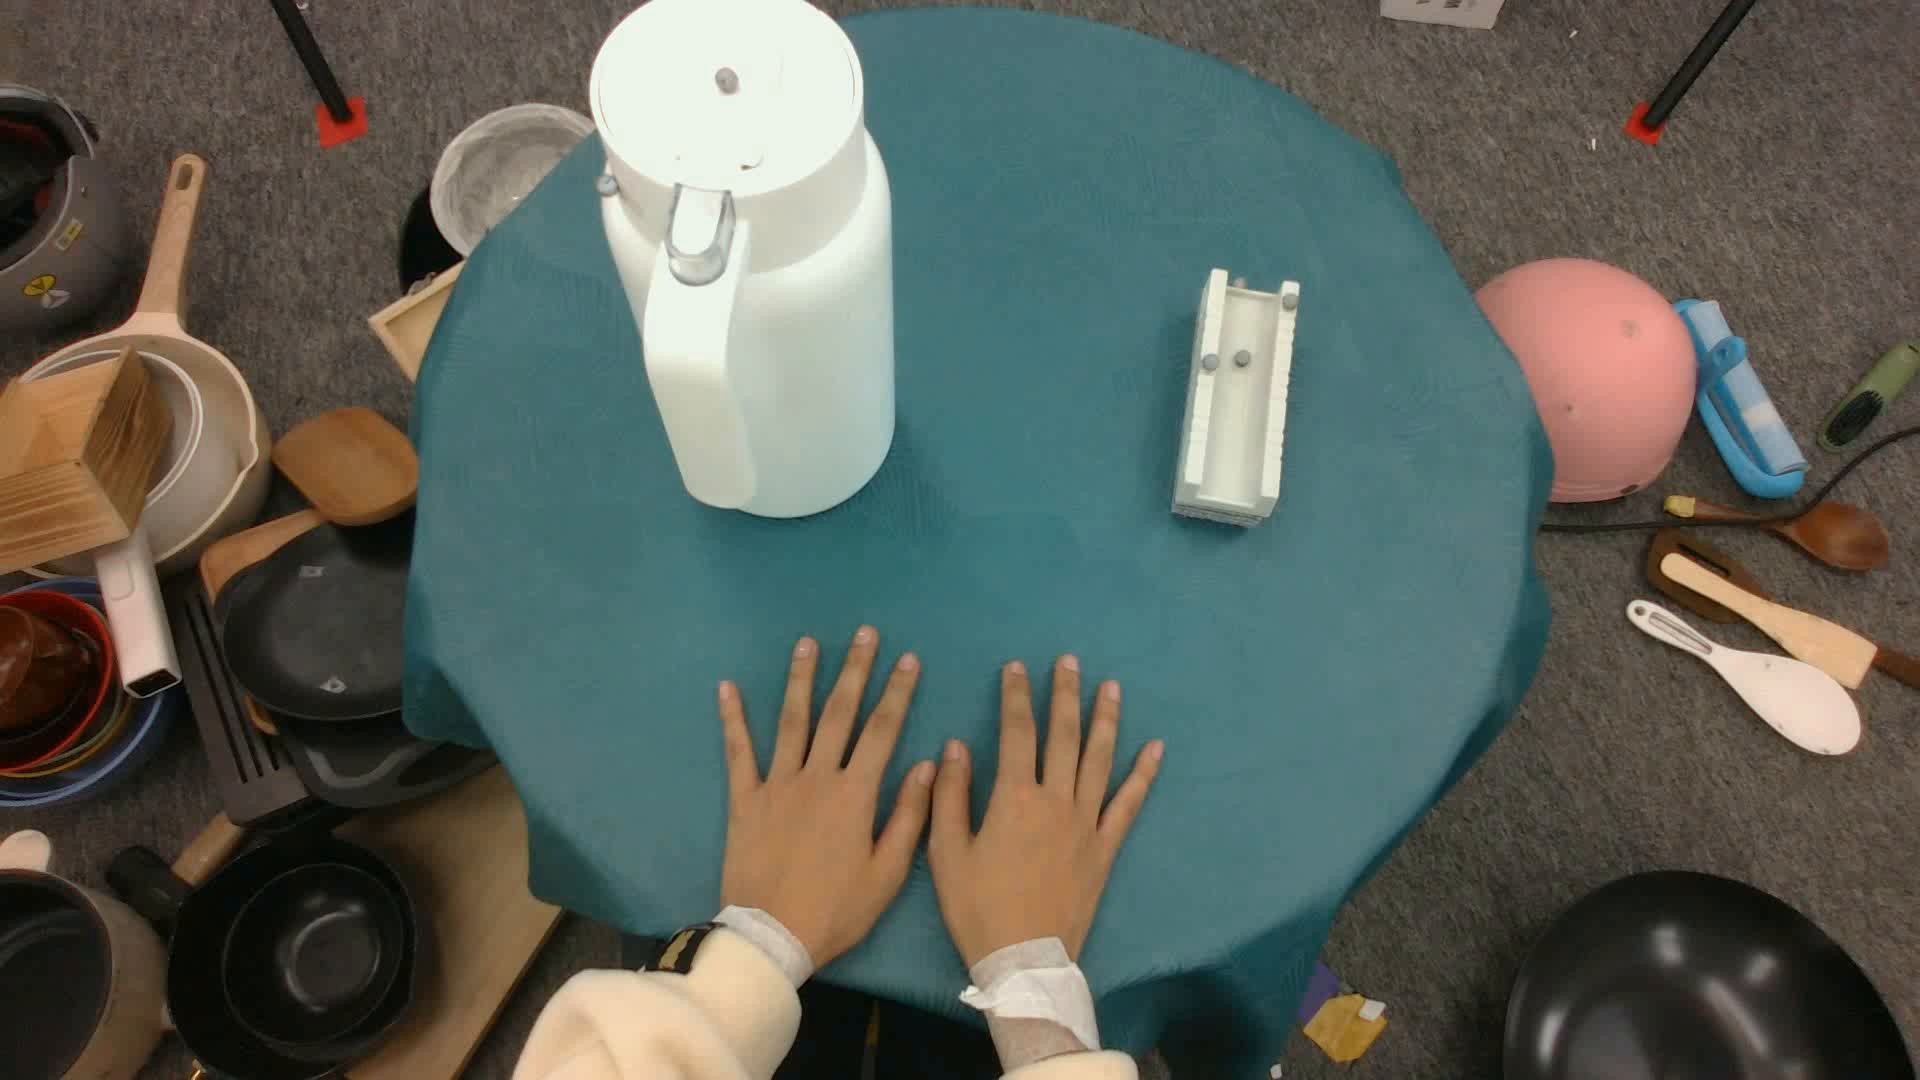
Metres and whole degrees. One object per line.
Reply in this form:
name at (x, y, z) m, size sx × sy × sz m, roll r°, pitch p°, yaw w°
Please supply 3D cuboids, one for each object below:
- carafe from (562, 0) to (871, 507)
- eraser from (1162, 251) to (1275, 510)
carafe at (-0.100, -0.104, 0.615) m, size 0.124 × 0.268 × 0.173 m, roll 8°, pitch 67°, yaw -2°
eraser at (0.138, -0.086, 0.742) m, size 0.050 × 0.046 × 0.135 m, roll 9°, pitch 66°, yaw -3°
